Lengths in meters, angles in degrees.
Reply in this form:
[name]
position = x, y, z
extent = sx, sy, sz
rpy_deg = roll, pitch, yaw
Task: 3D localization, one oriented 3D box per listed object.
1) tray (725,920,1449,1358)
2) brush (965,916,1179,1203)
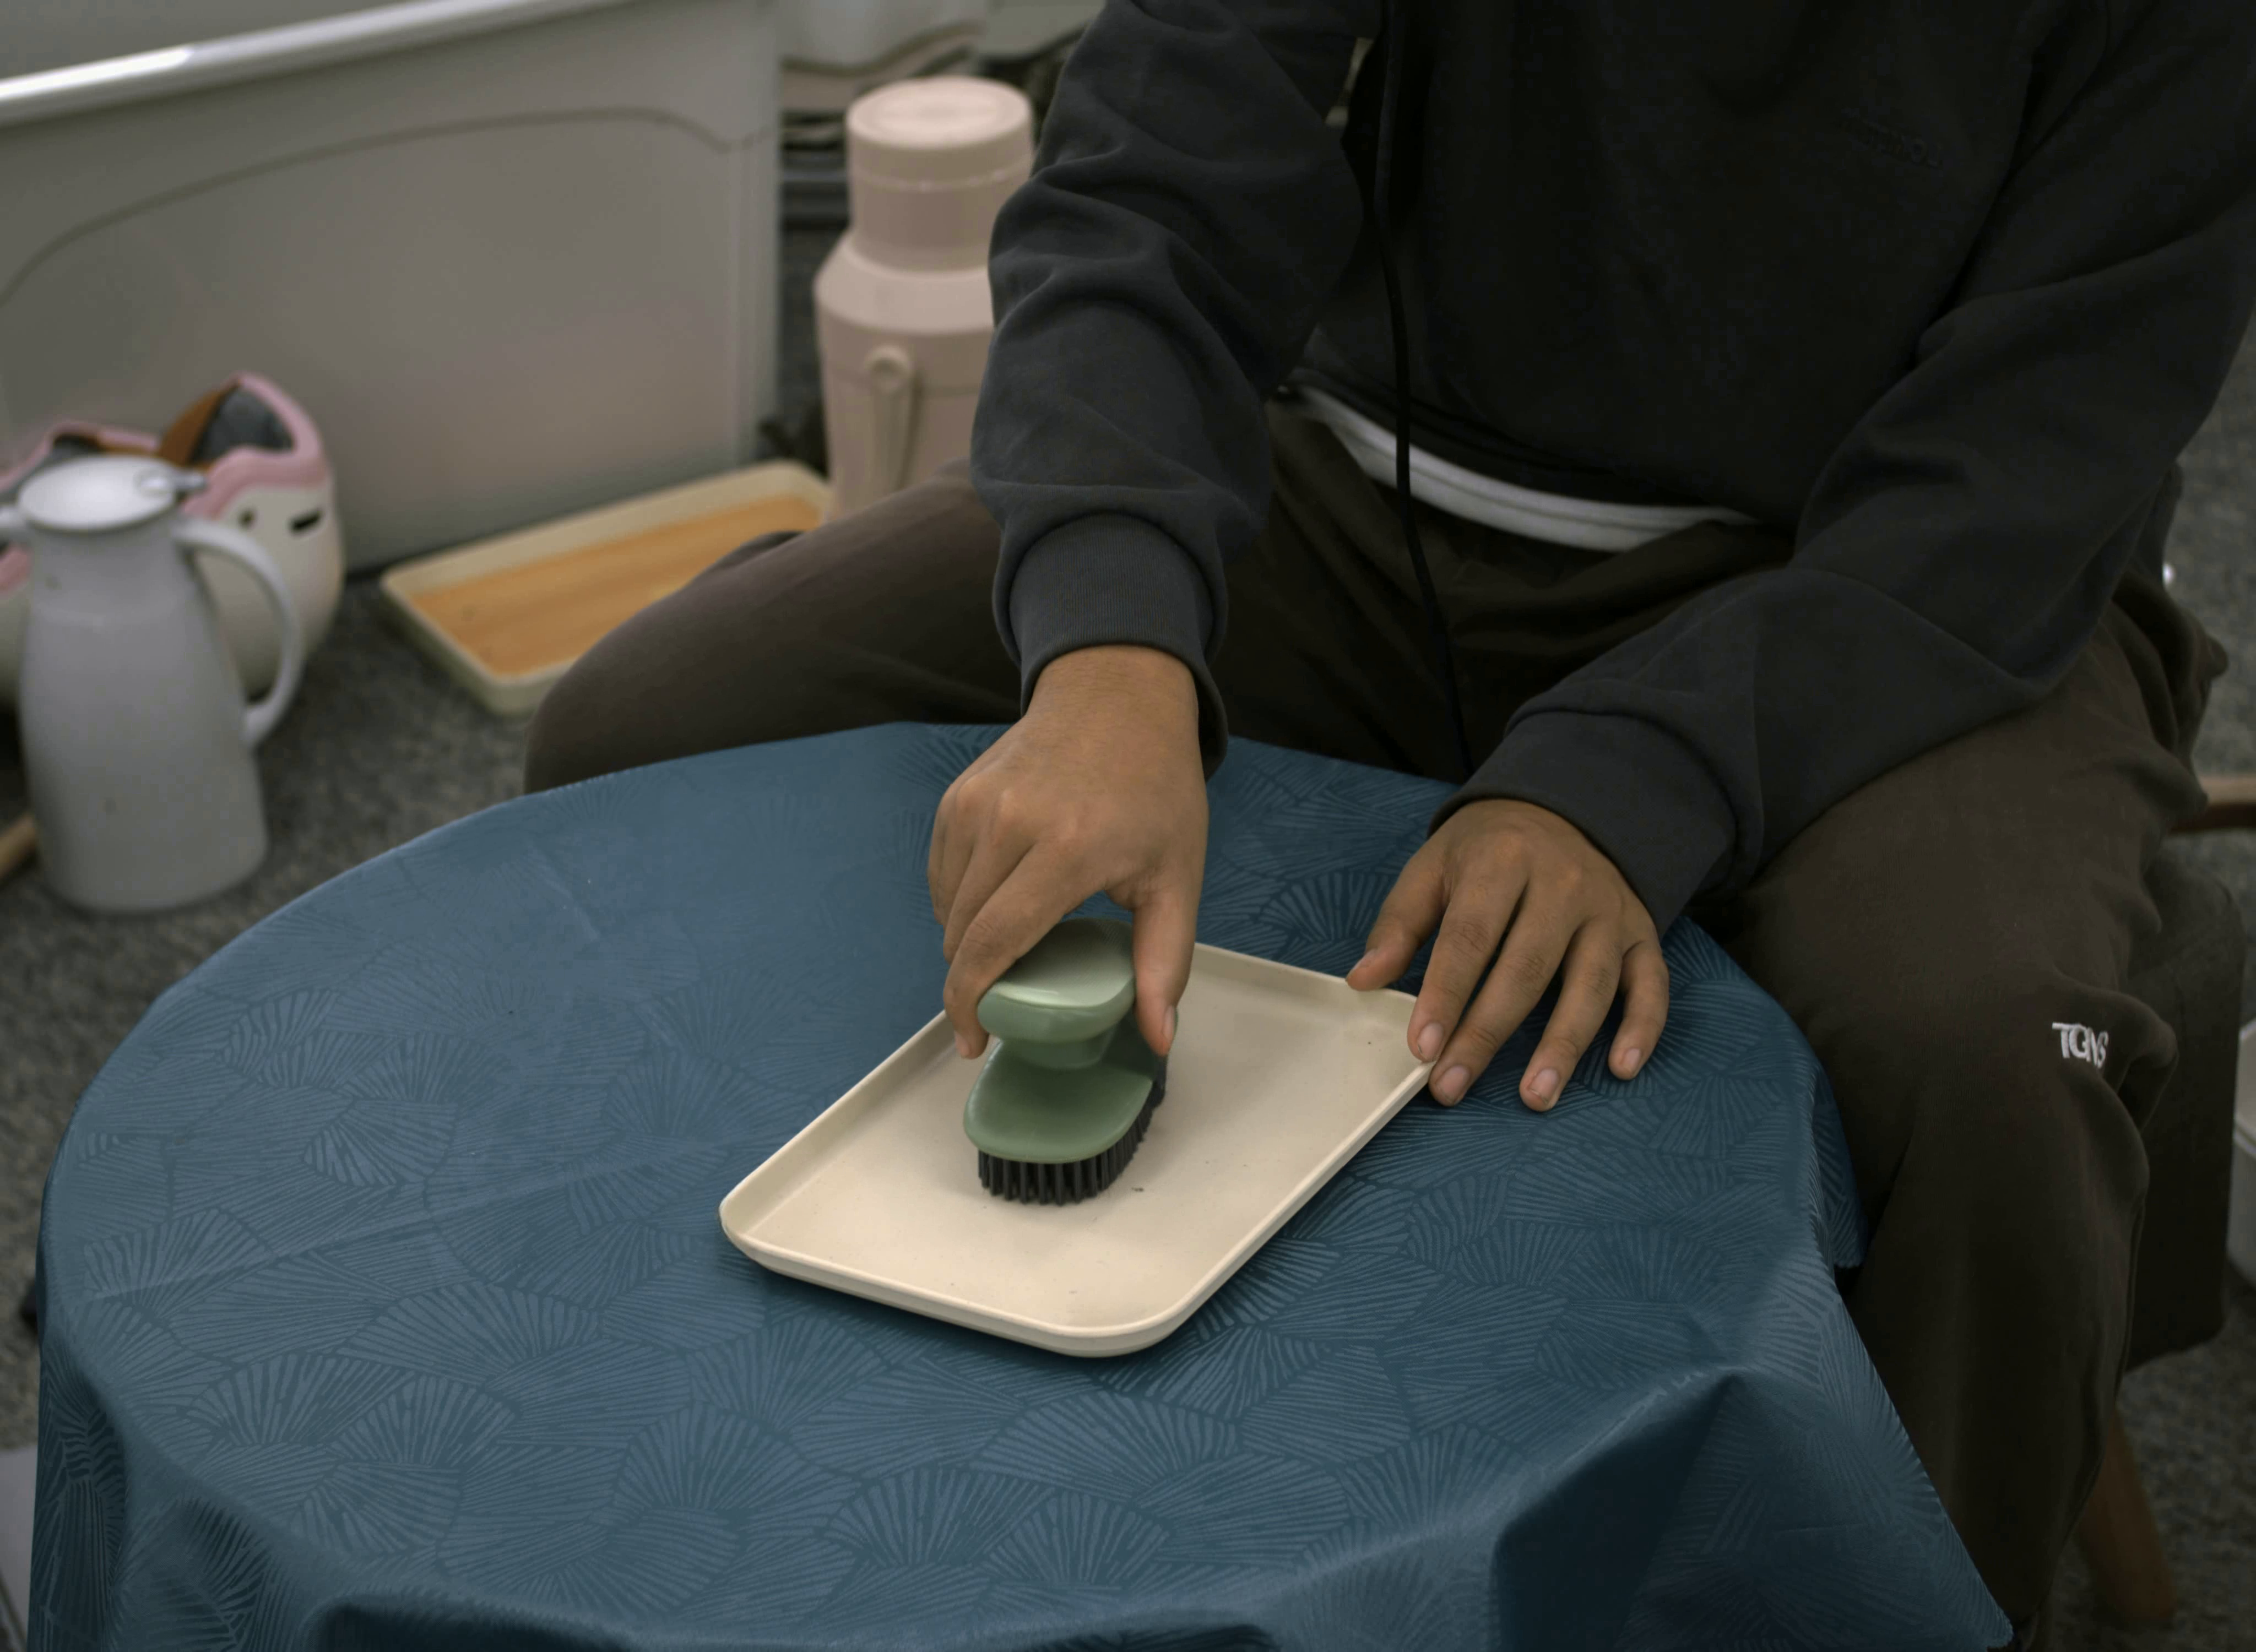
[tray]
position = -0.011, 0.103, 1.881
extent = 0.170, 0.017, 0.243
rpy_deg = 13, 31, 27
[brush]
position = -0.019, 0.077, 1.890
extent = 0.059, 0.075, 0.124
rpy_deg = 4, 14, 13
